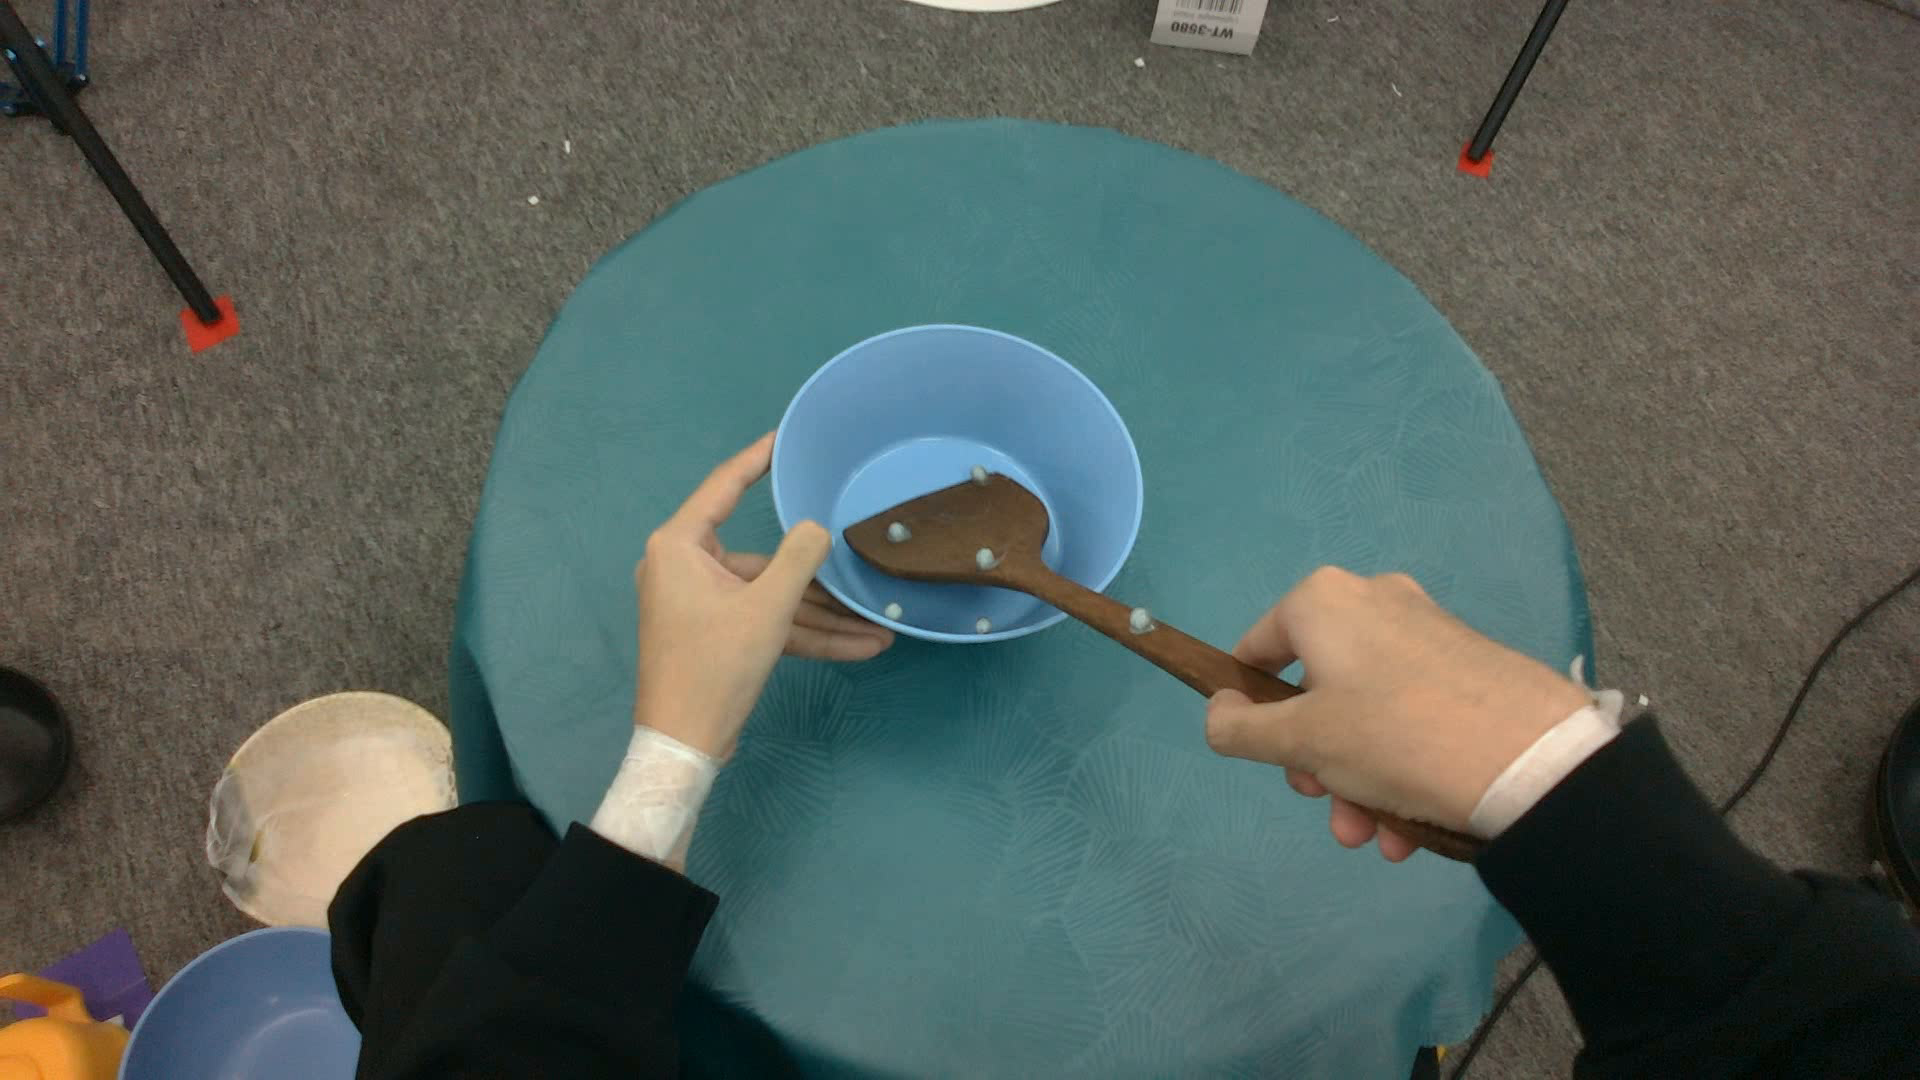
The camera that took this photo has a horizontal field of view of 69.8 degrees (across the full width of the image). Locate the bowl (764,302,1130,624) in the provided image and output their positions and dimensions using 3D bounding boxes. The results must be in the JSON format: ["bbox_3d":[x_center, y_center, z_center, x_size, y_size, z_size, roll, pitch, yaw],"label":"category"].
[{"bbox_3d":[-0.009,-0.027,0.674,0.176,0.070,0.177,5,61,-8],"label":"bowl"}]

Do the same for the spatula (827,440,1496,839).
[{"bbox_3d":[0.057,0.022,0.545,0.096,0.016,0.386,-22,26,-21],"label":"spatula"}]
